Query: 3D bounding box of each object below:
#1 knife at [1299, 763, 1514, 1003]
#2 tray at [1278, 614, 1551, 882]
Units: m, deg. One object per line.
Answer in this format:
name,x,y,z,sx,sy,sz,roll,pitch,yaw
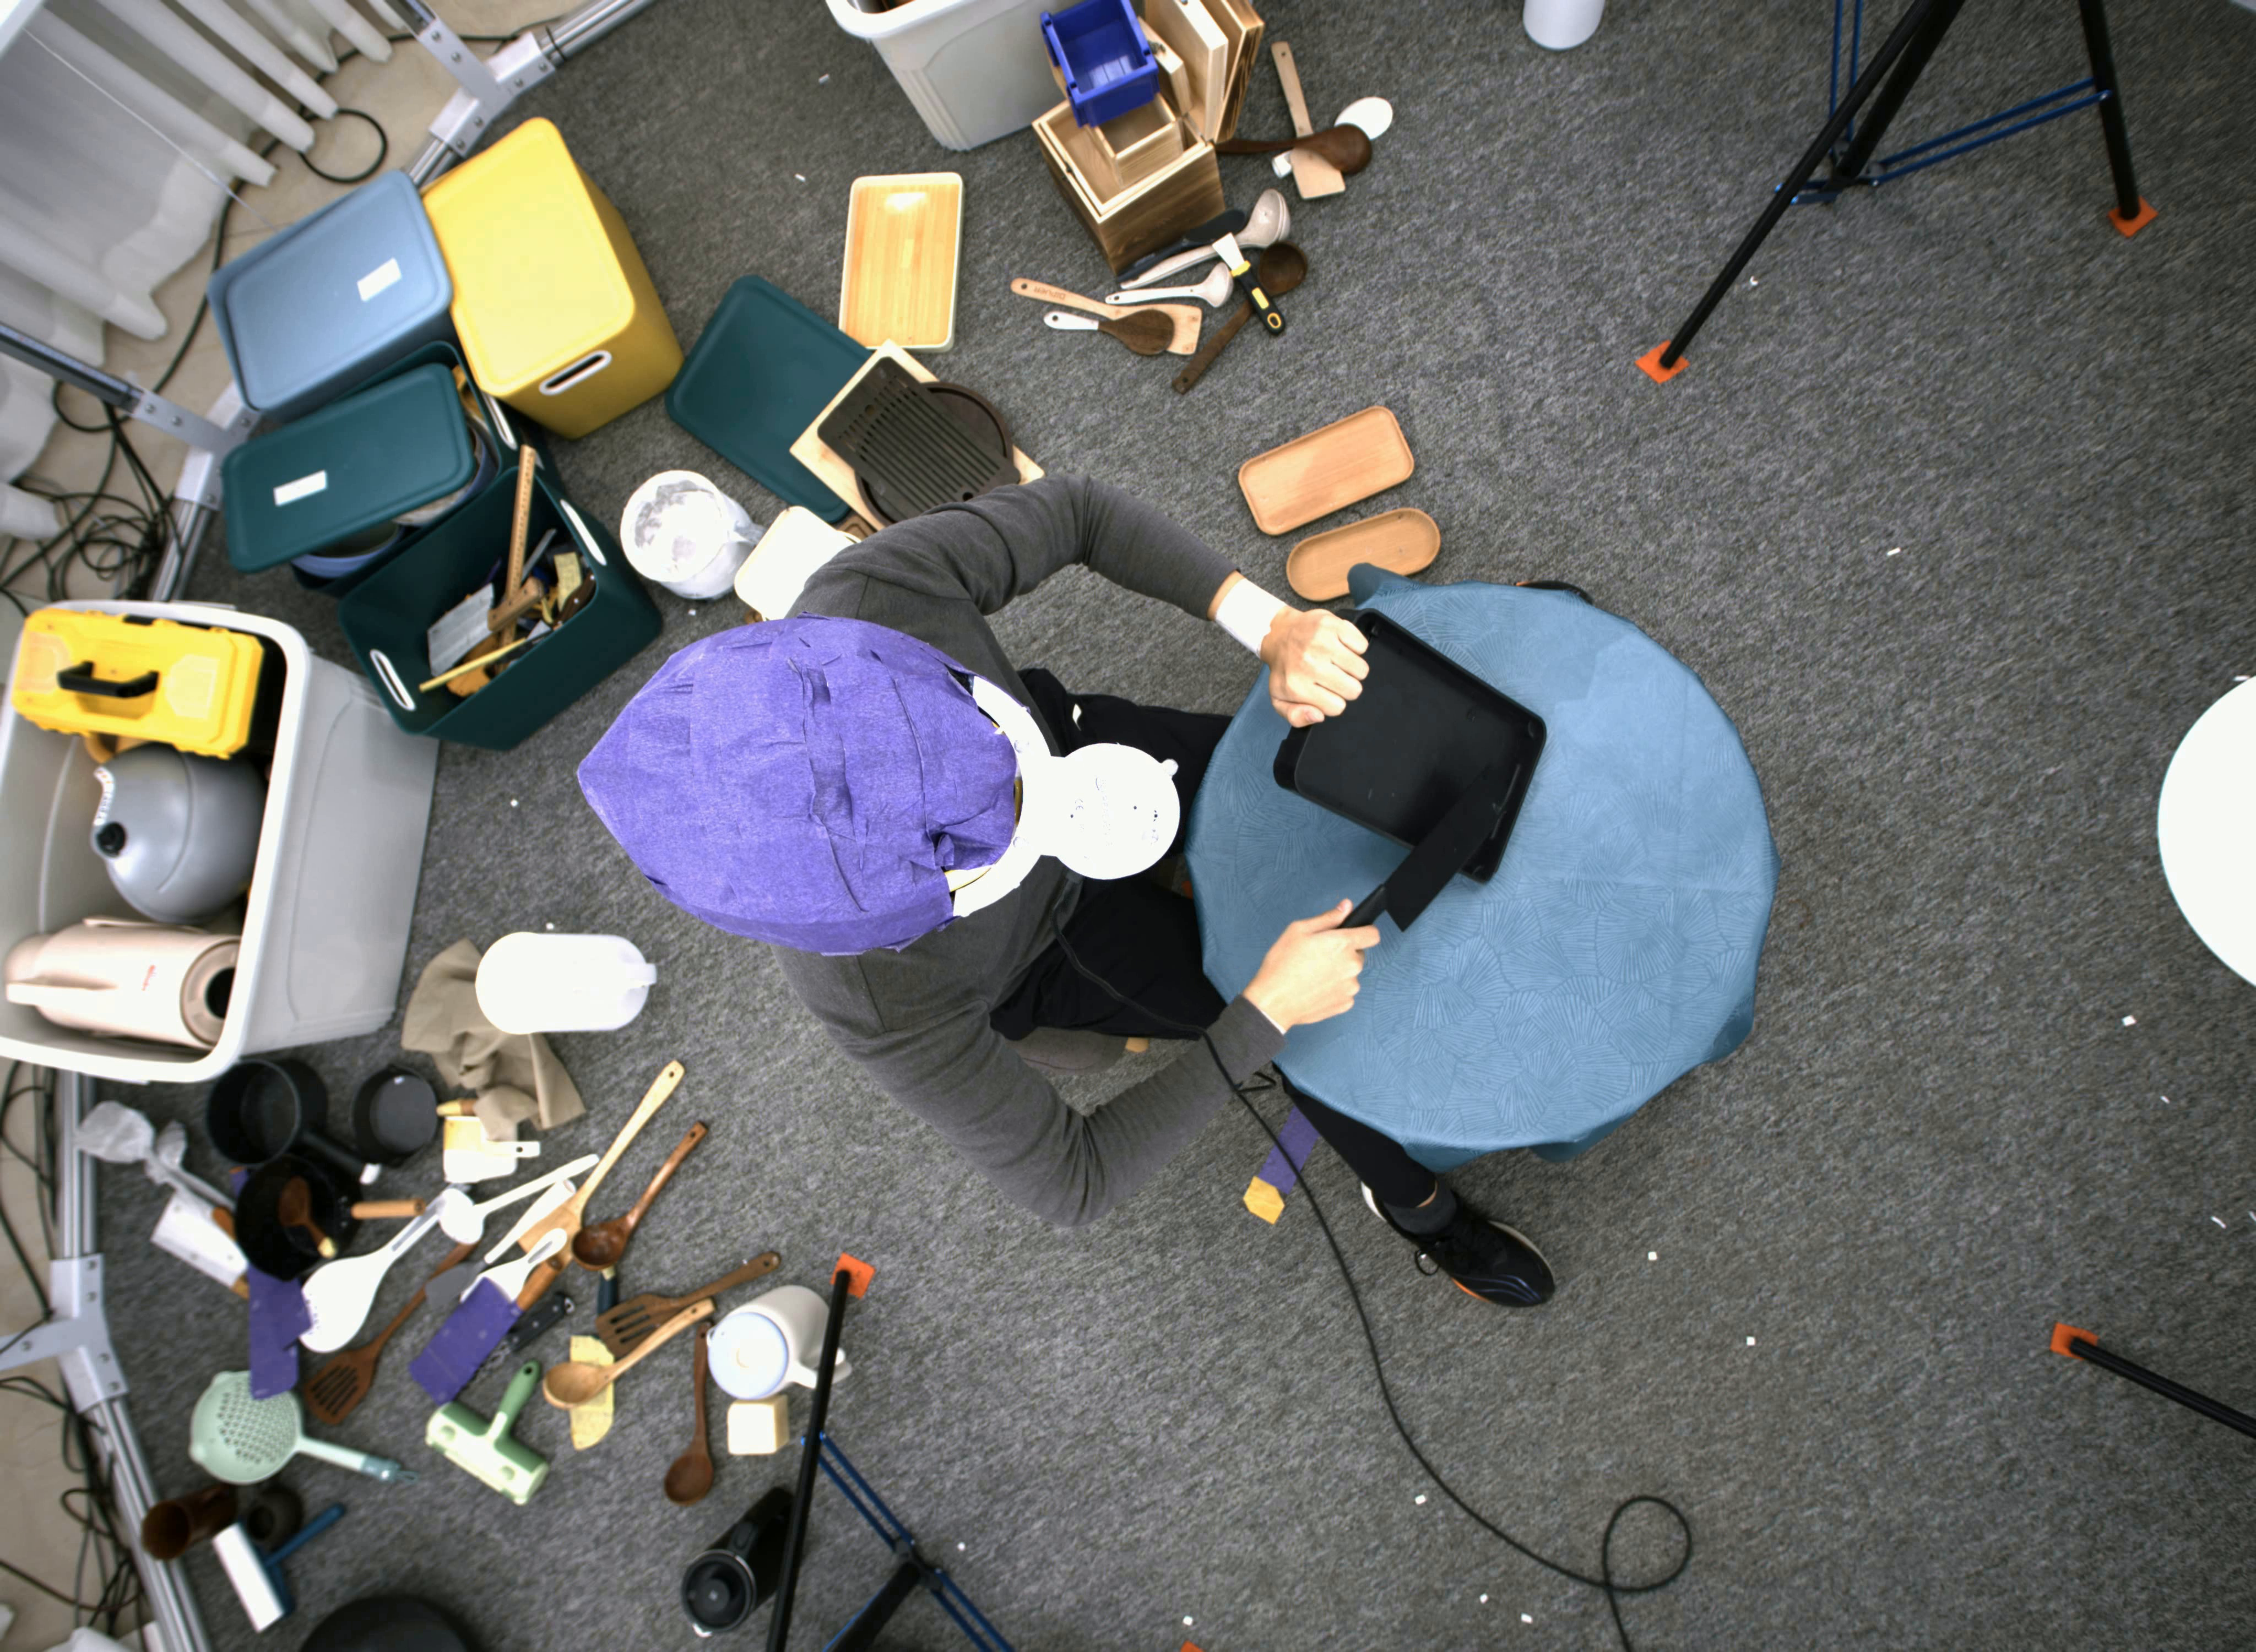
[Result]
knife,0.275,0.059,1.354,0.300,0.020,0.082,-43,125,-10
tray,0.287,-0.072,1.340,0.037,0.318,0.184,22,92,53
